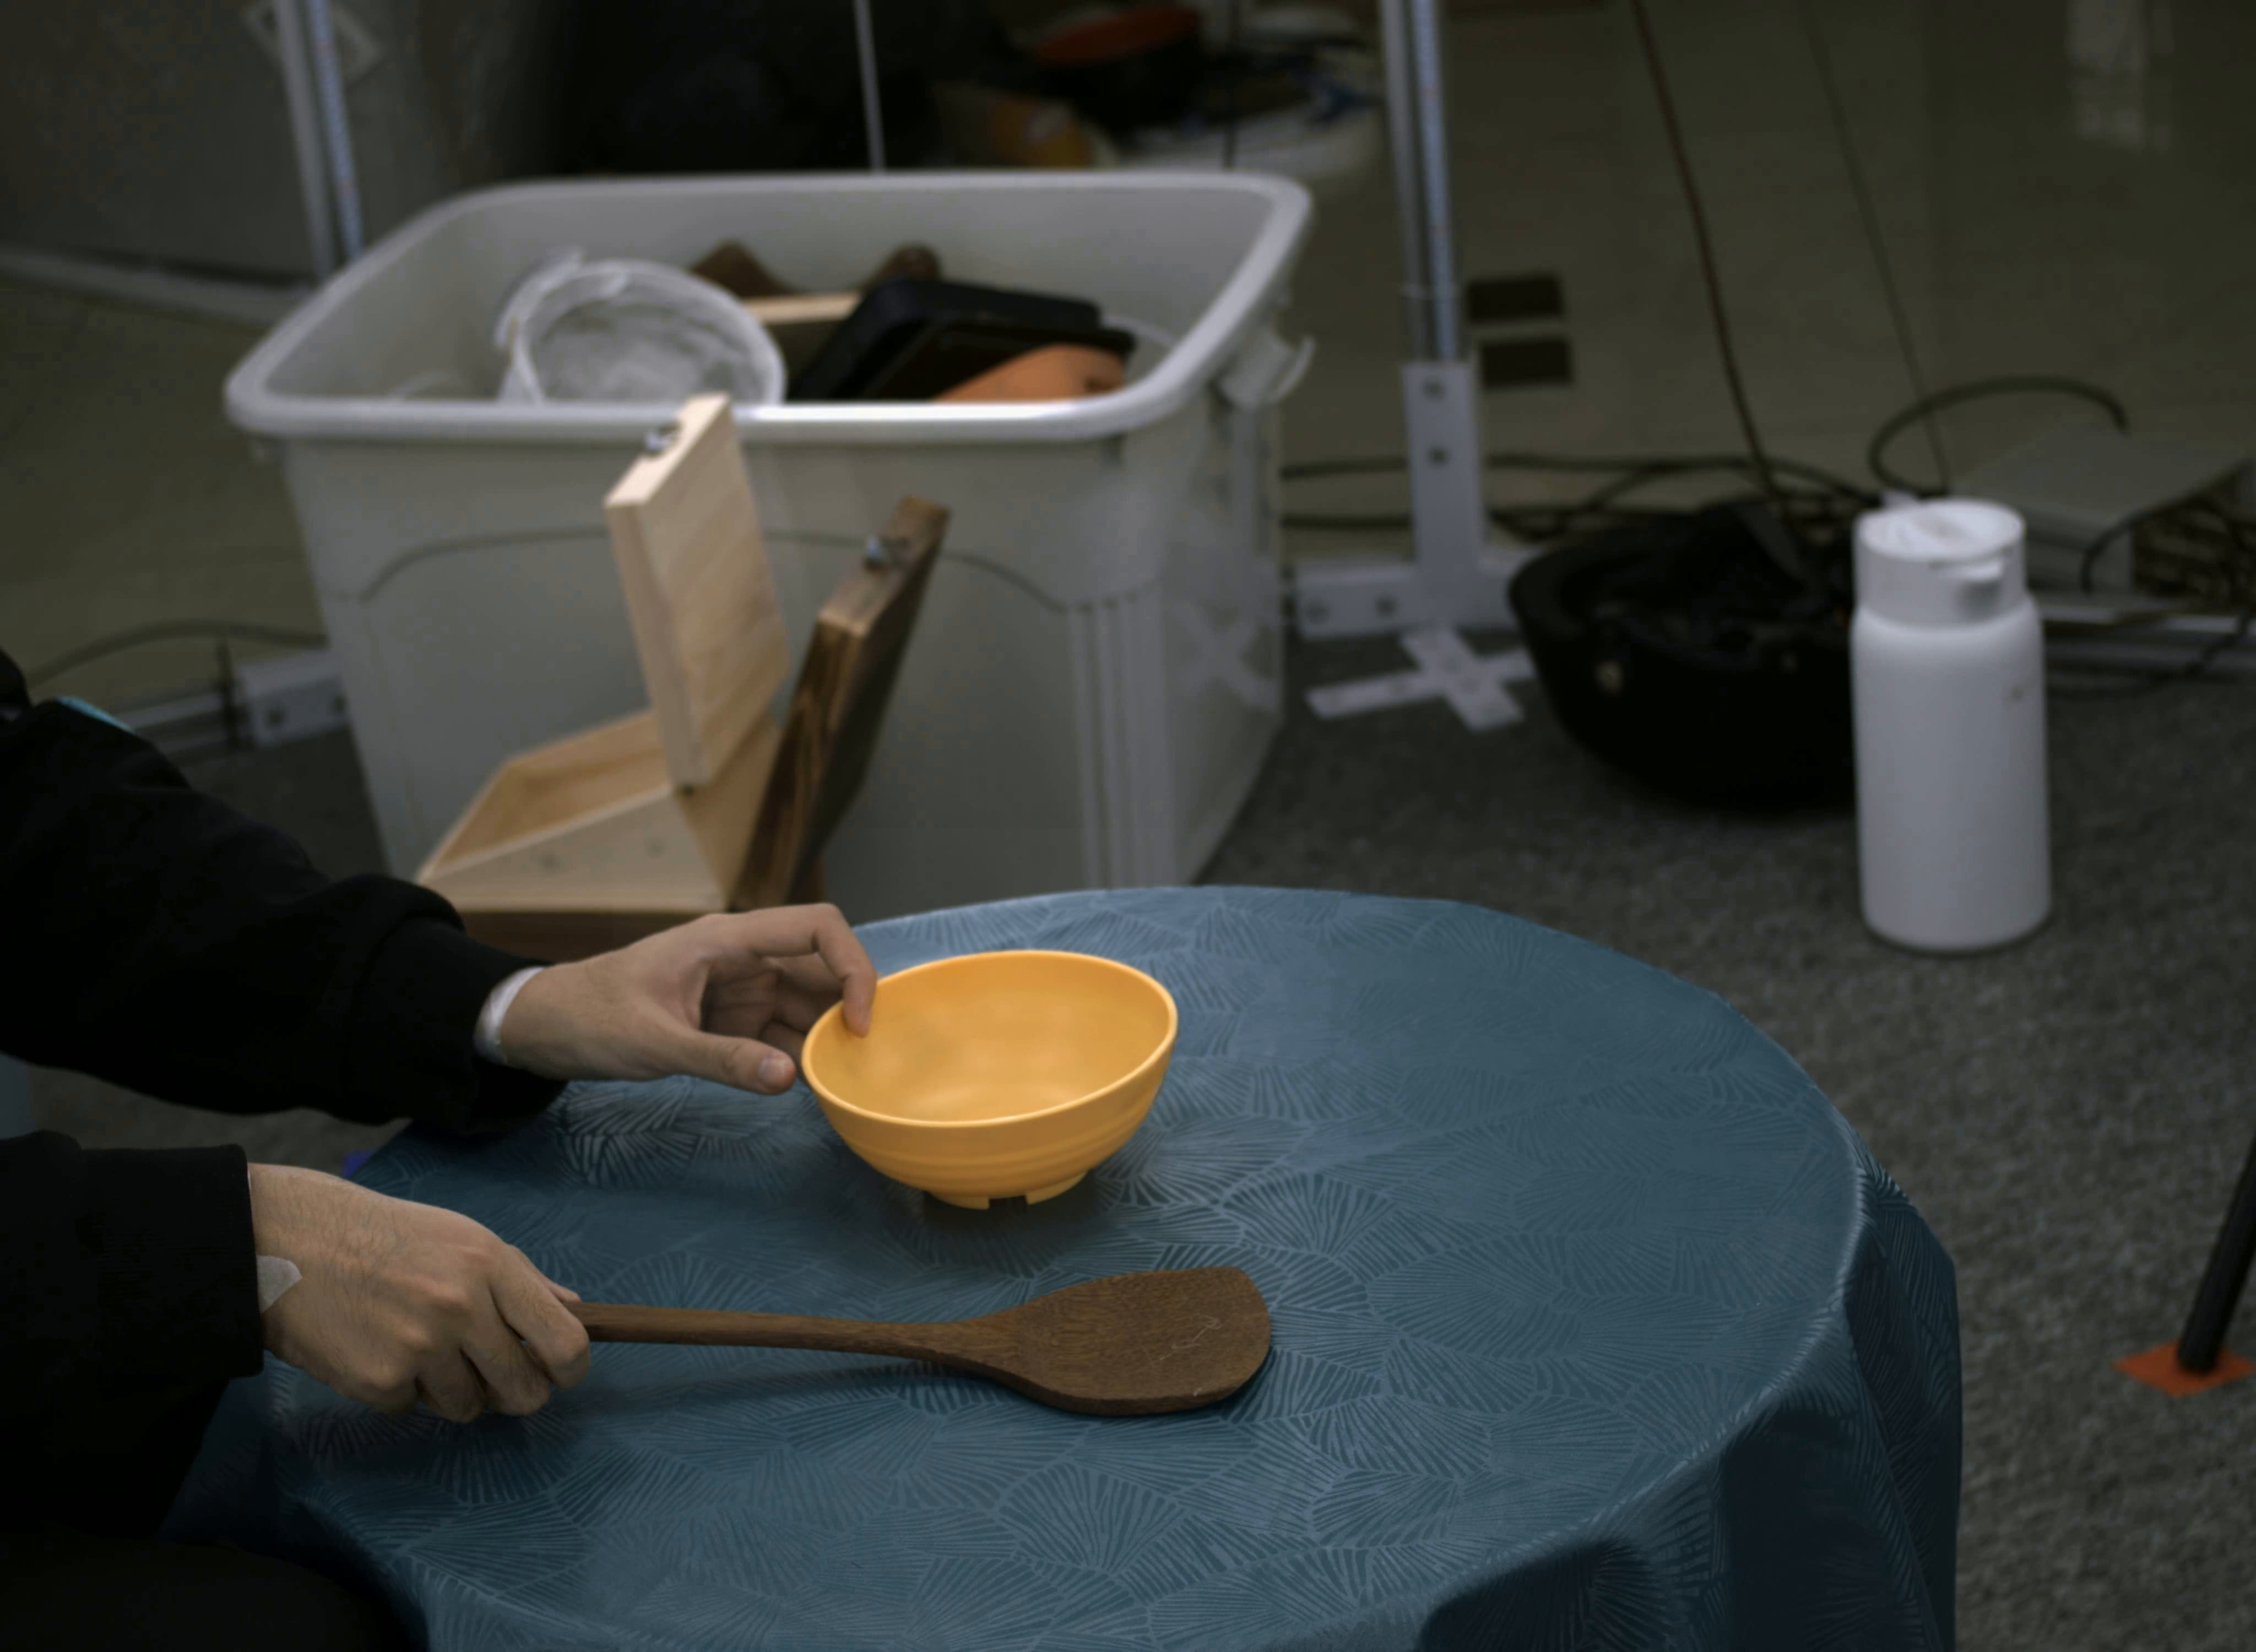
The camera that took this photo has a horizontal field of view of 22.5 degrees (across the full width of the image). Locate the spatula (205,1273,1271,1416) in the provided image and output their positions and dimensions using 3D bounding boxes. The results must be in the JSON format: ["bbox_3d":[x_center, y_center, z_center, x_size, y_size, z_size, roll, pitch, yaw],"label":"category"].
[{"bbox_3d":[-0.141,0.182,2.044,0.385,0.016,0.095,2,25,1],"label":"spatula"}]

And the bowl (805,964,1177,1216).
[{"bbox_3d":[-0.049,0.108,2.165,0.145,0.061,0.143,-7,23,3],"label":"bowl"}]
